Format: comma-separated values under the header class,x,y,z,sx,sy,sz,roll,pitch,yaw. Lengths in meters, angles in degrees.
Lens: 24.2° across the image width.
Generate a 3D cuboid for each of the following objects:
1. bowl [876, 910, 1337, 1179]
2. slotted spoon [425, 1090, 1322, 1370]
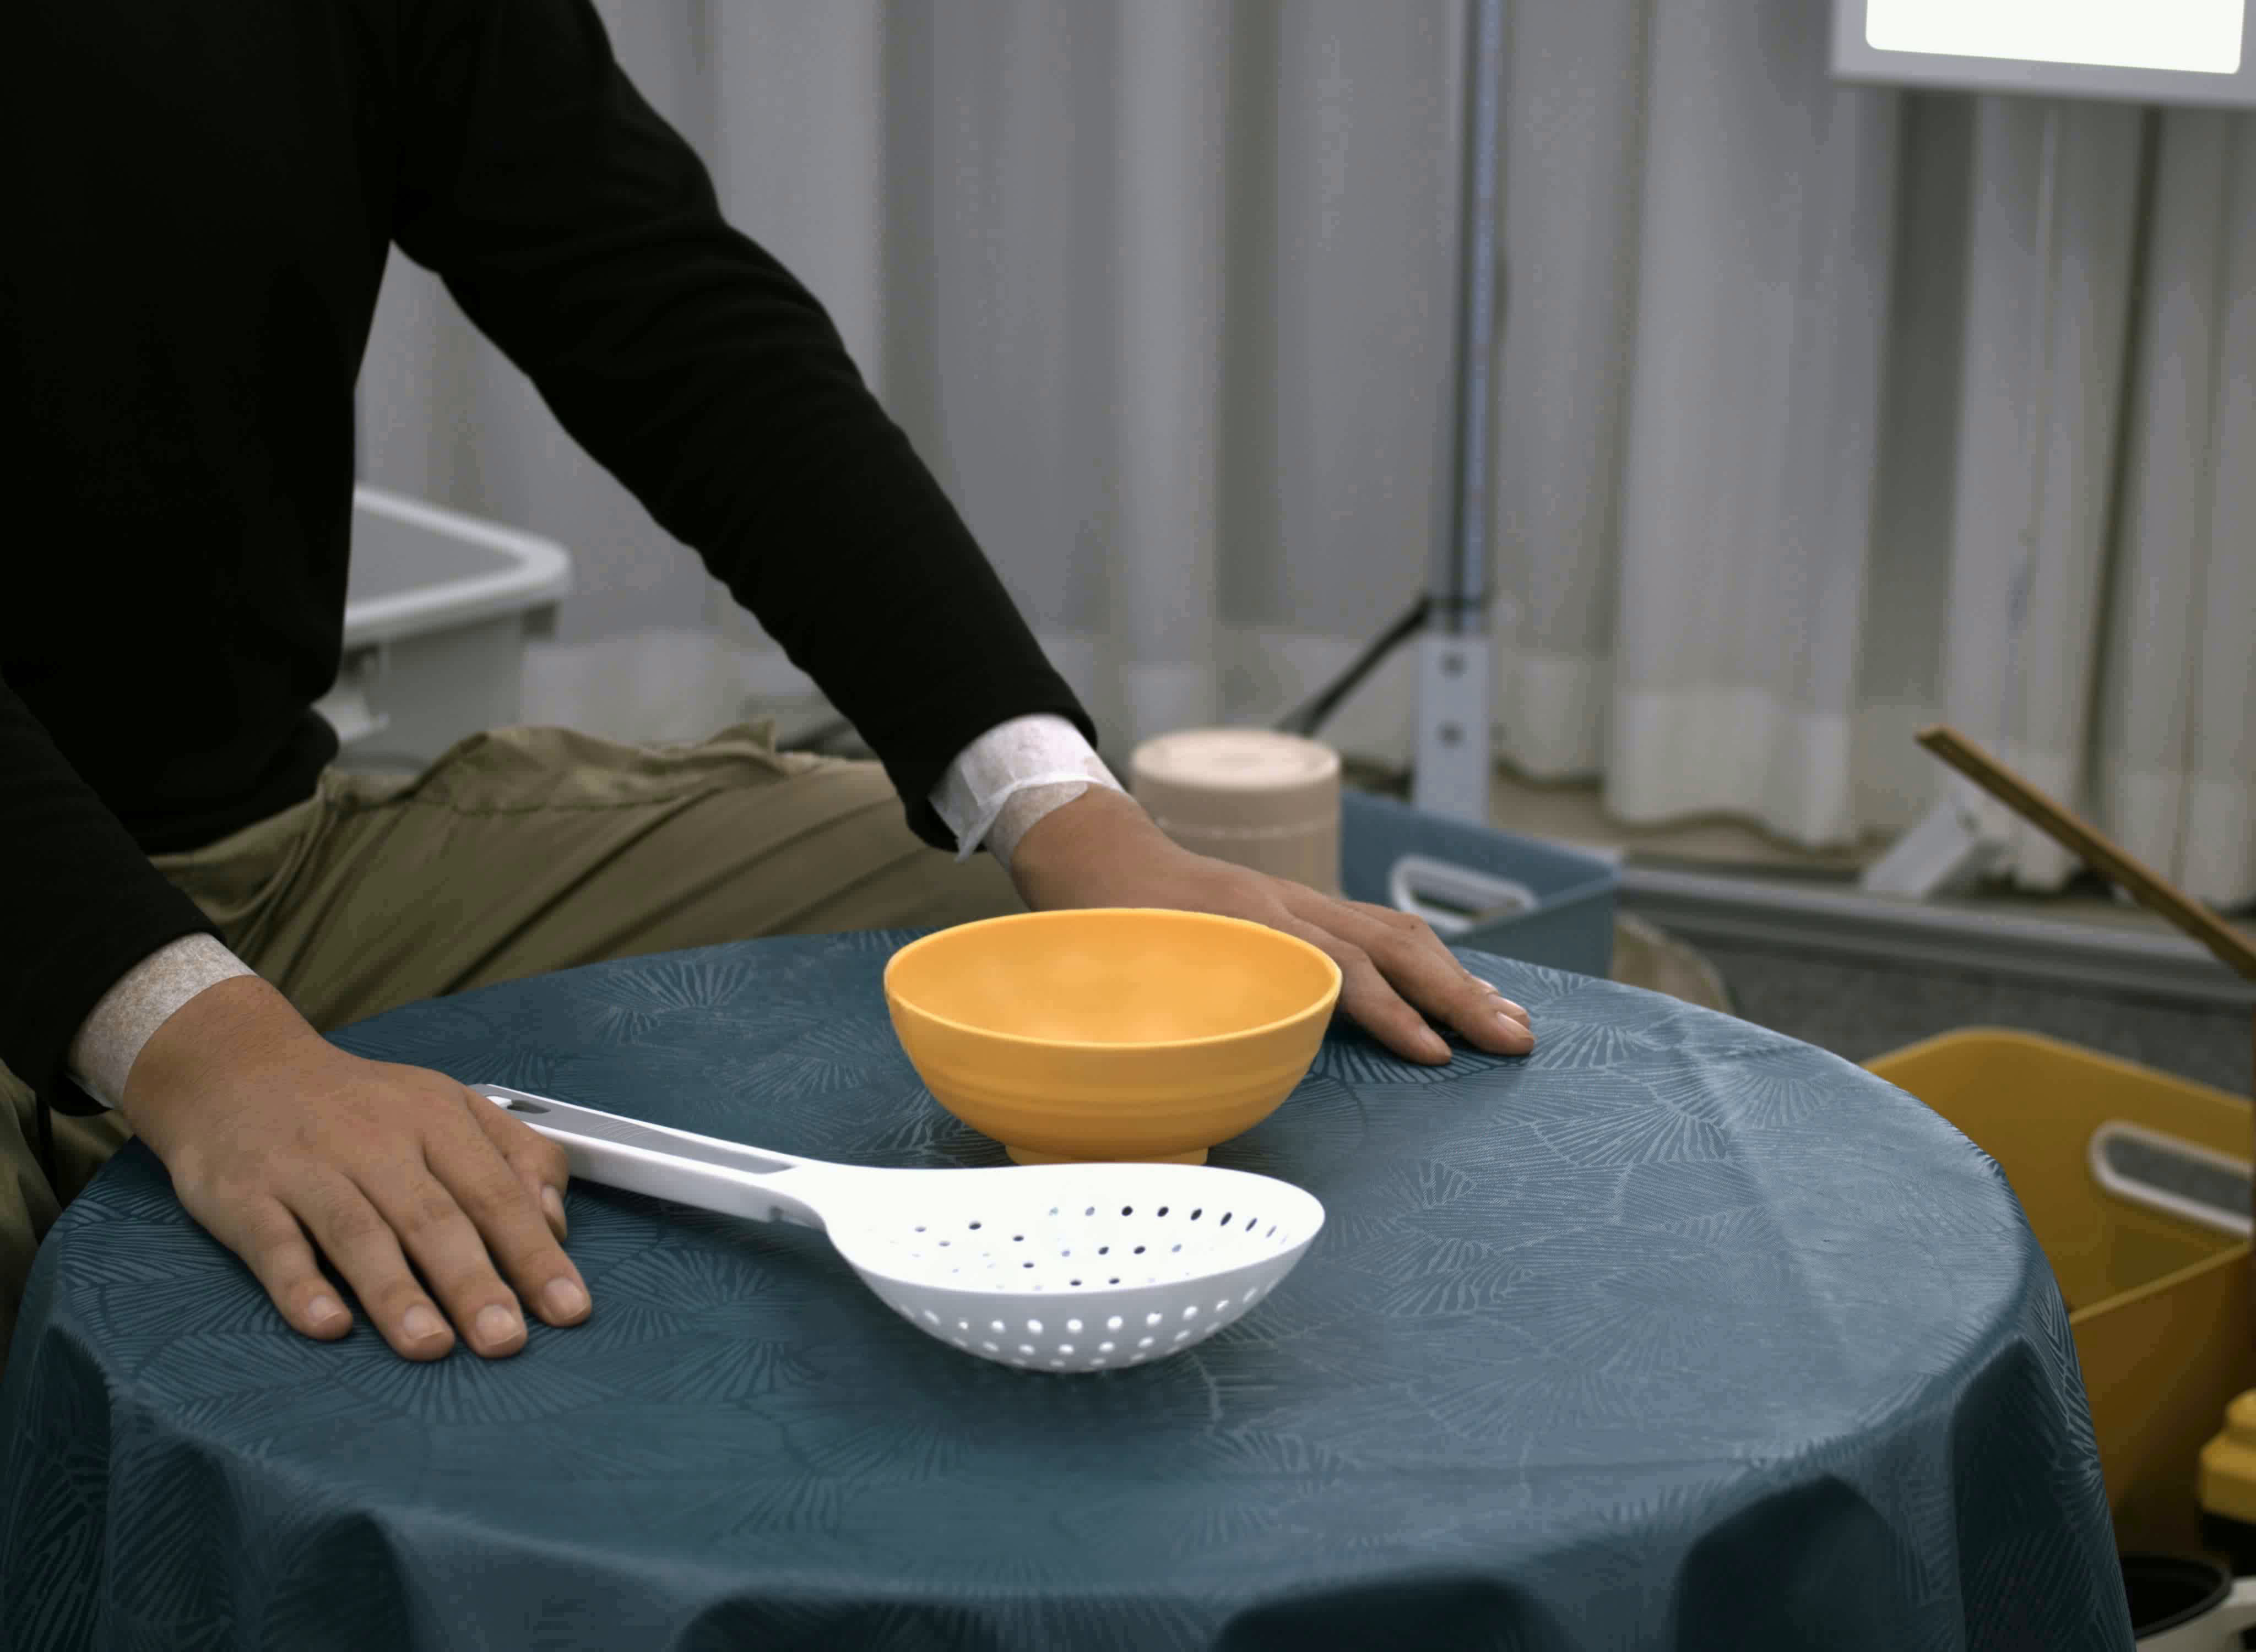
class,x,y,z,sx,sy,sz,roll,pitch,yaw
bowl,-0.008,0.075,1.651,0.145,0.060,0.144,3,16,0
slotted spoon,-0.090,0.108,1.546,0.345,0.046,0.137,13,19,42
